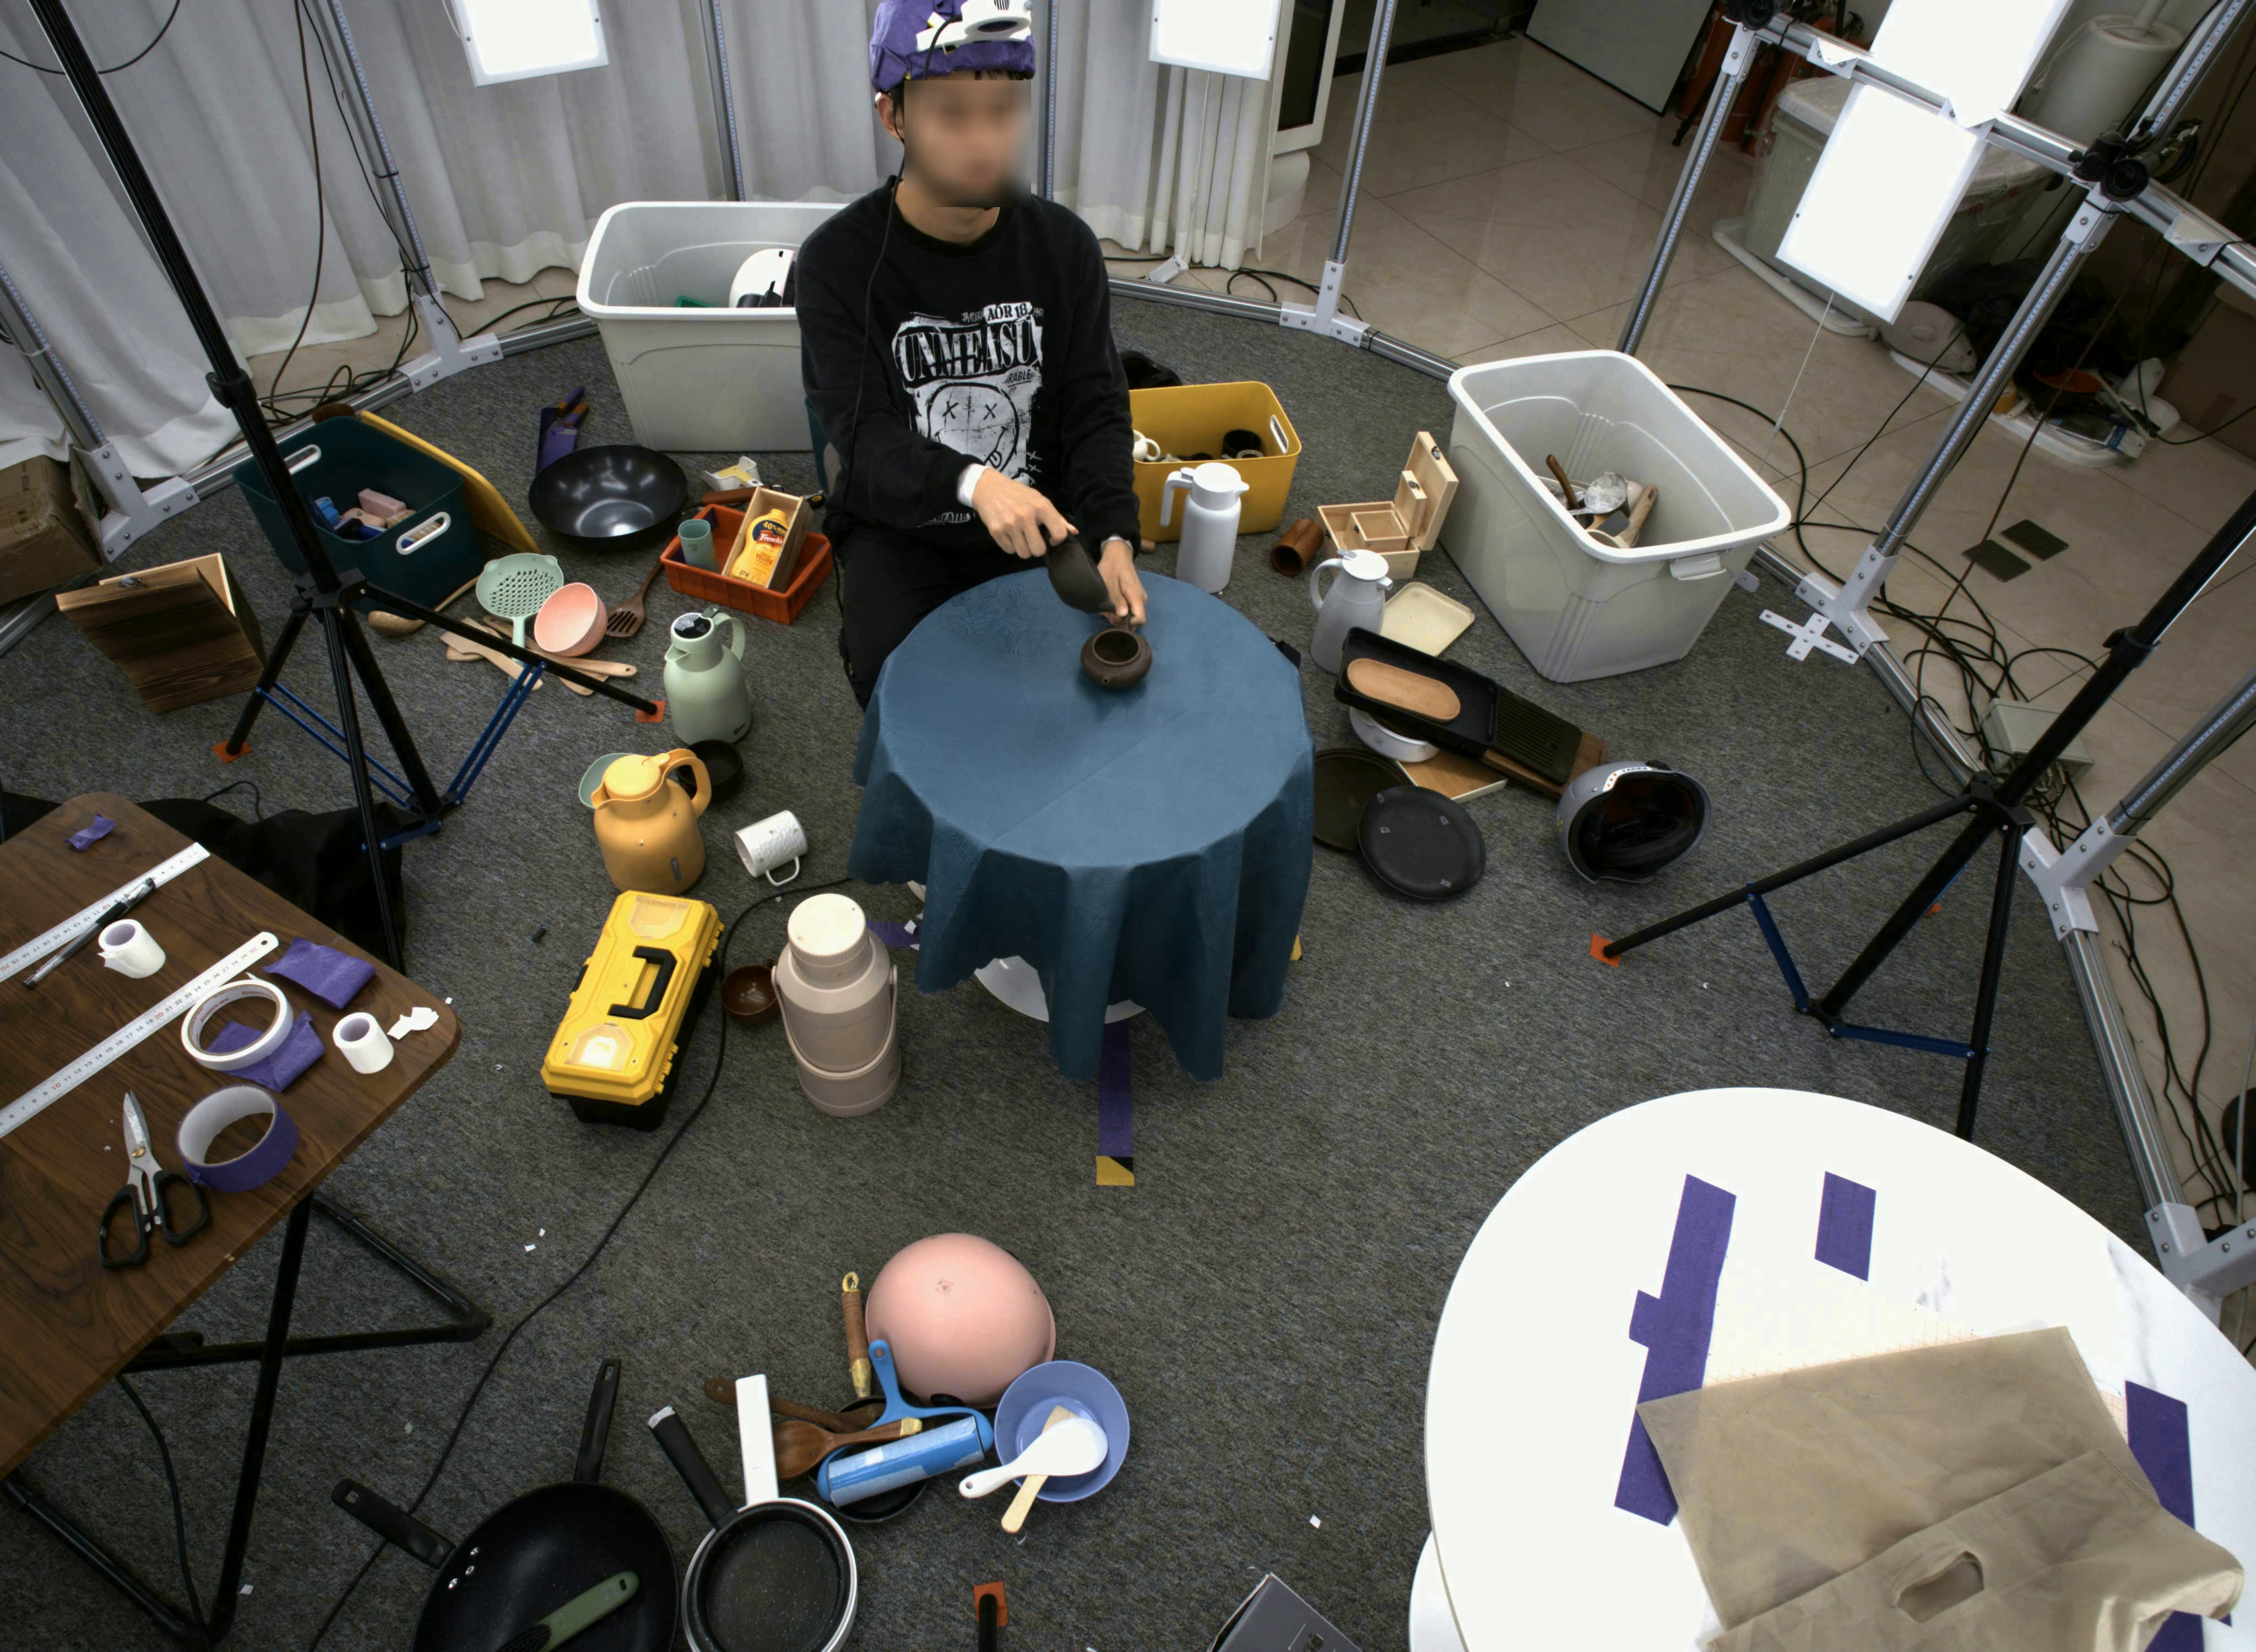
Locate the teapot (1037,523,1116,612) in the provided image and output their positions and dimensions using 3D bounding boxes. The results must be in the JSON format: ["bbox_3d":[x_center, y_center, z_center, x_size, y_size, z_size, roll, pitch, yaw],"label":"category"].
[{"bbox_3d":[-0.070,-0.335,1.711,0.064,0.151,0.094,-31,33,9],"label":"teapot"}]

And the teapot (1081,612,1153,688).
[{"bbox_3d":[-0.015,-0.247,1.844,0.102,0.052,0.157,7,53,3],"label":"teapot"}]
